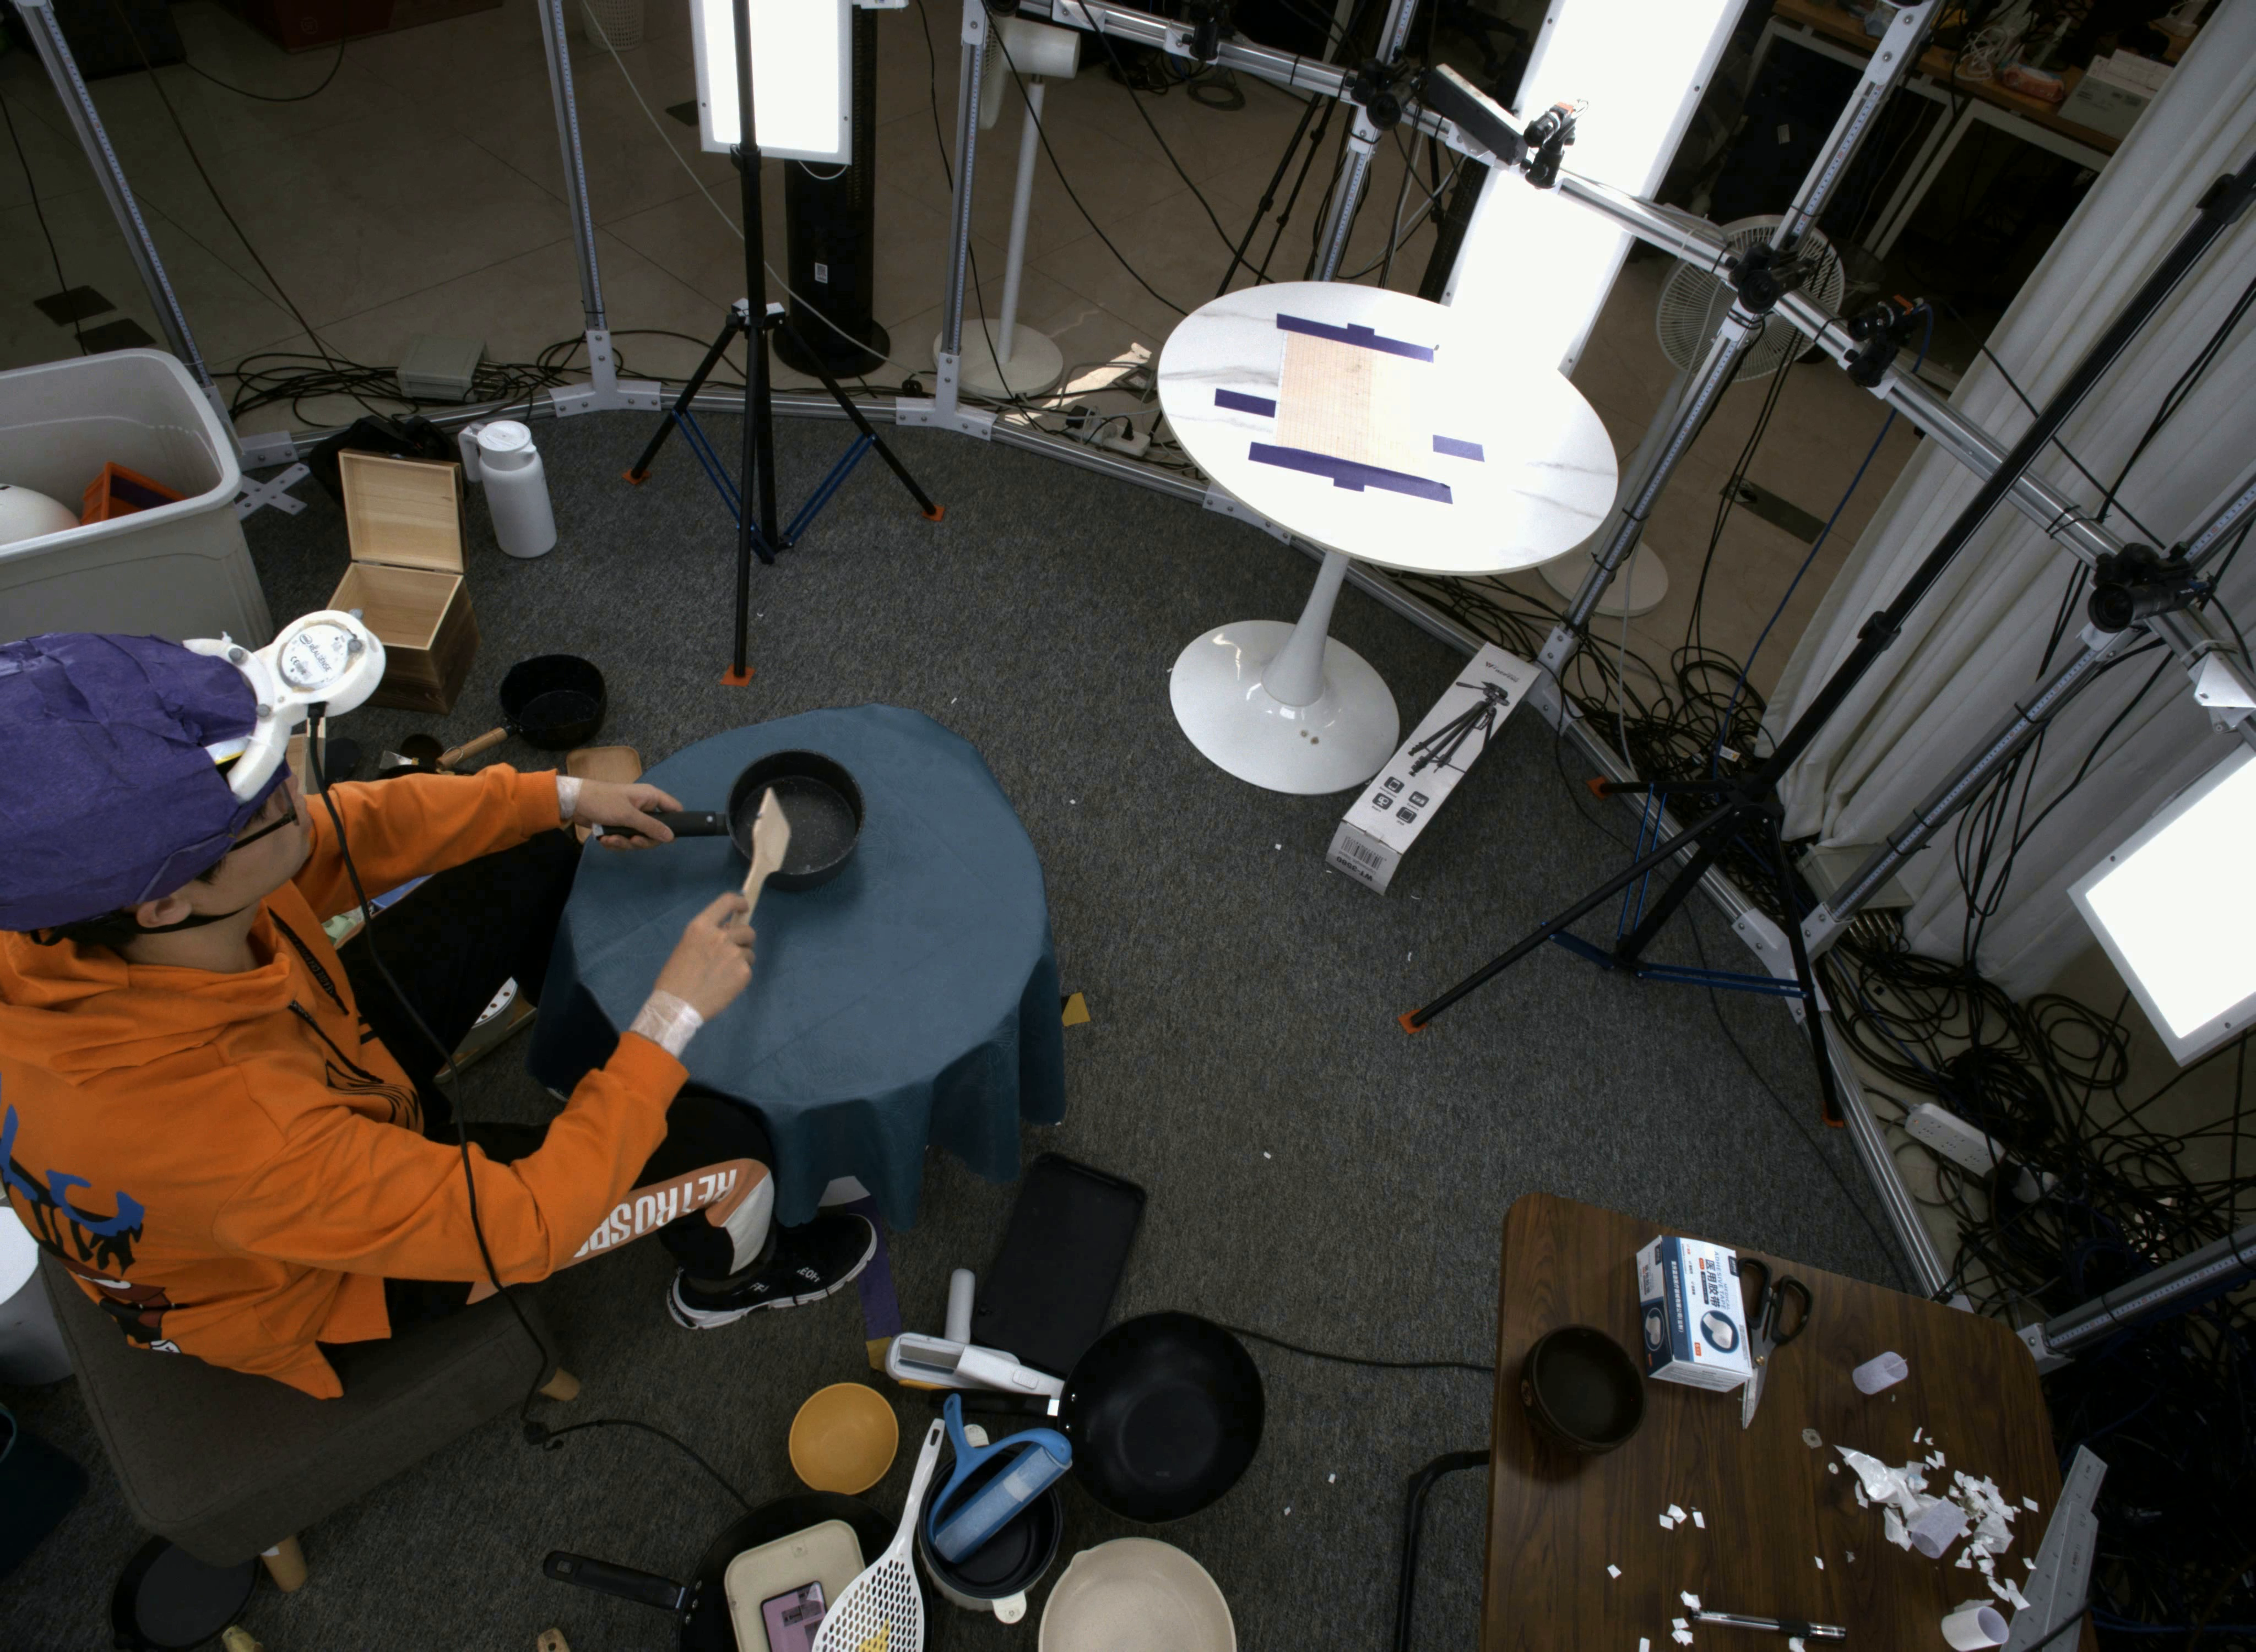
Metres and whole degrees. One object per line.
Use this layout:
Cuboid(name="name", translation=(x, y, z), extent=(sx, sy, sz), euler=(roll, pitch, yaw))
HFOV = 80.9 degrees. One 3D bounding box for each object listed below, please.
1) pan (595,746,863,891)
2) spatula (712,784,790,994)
Cuboid(name="pan", translation=(-0.499, -0.005, 1.615), extent=(0.330, 0.087, 0.170), euler=(-2, 69, -20))
Cuboid(name="spatula", translation=(-0.421, 0.068, 1.446), extent=(0.010, 0.075, 0.287), euler=(-4, 42, 7))
